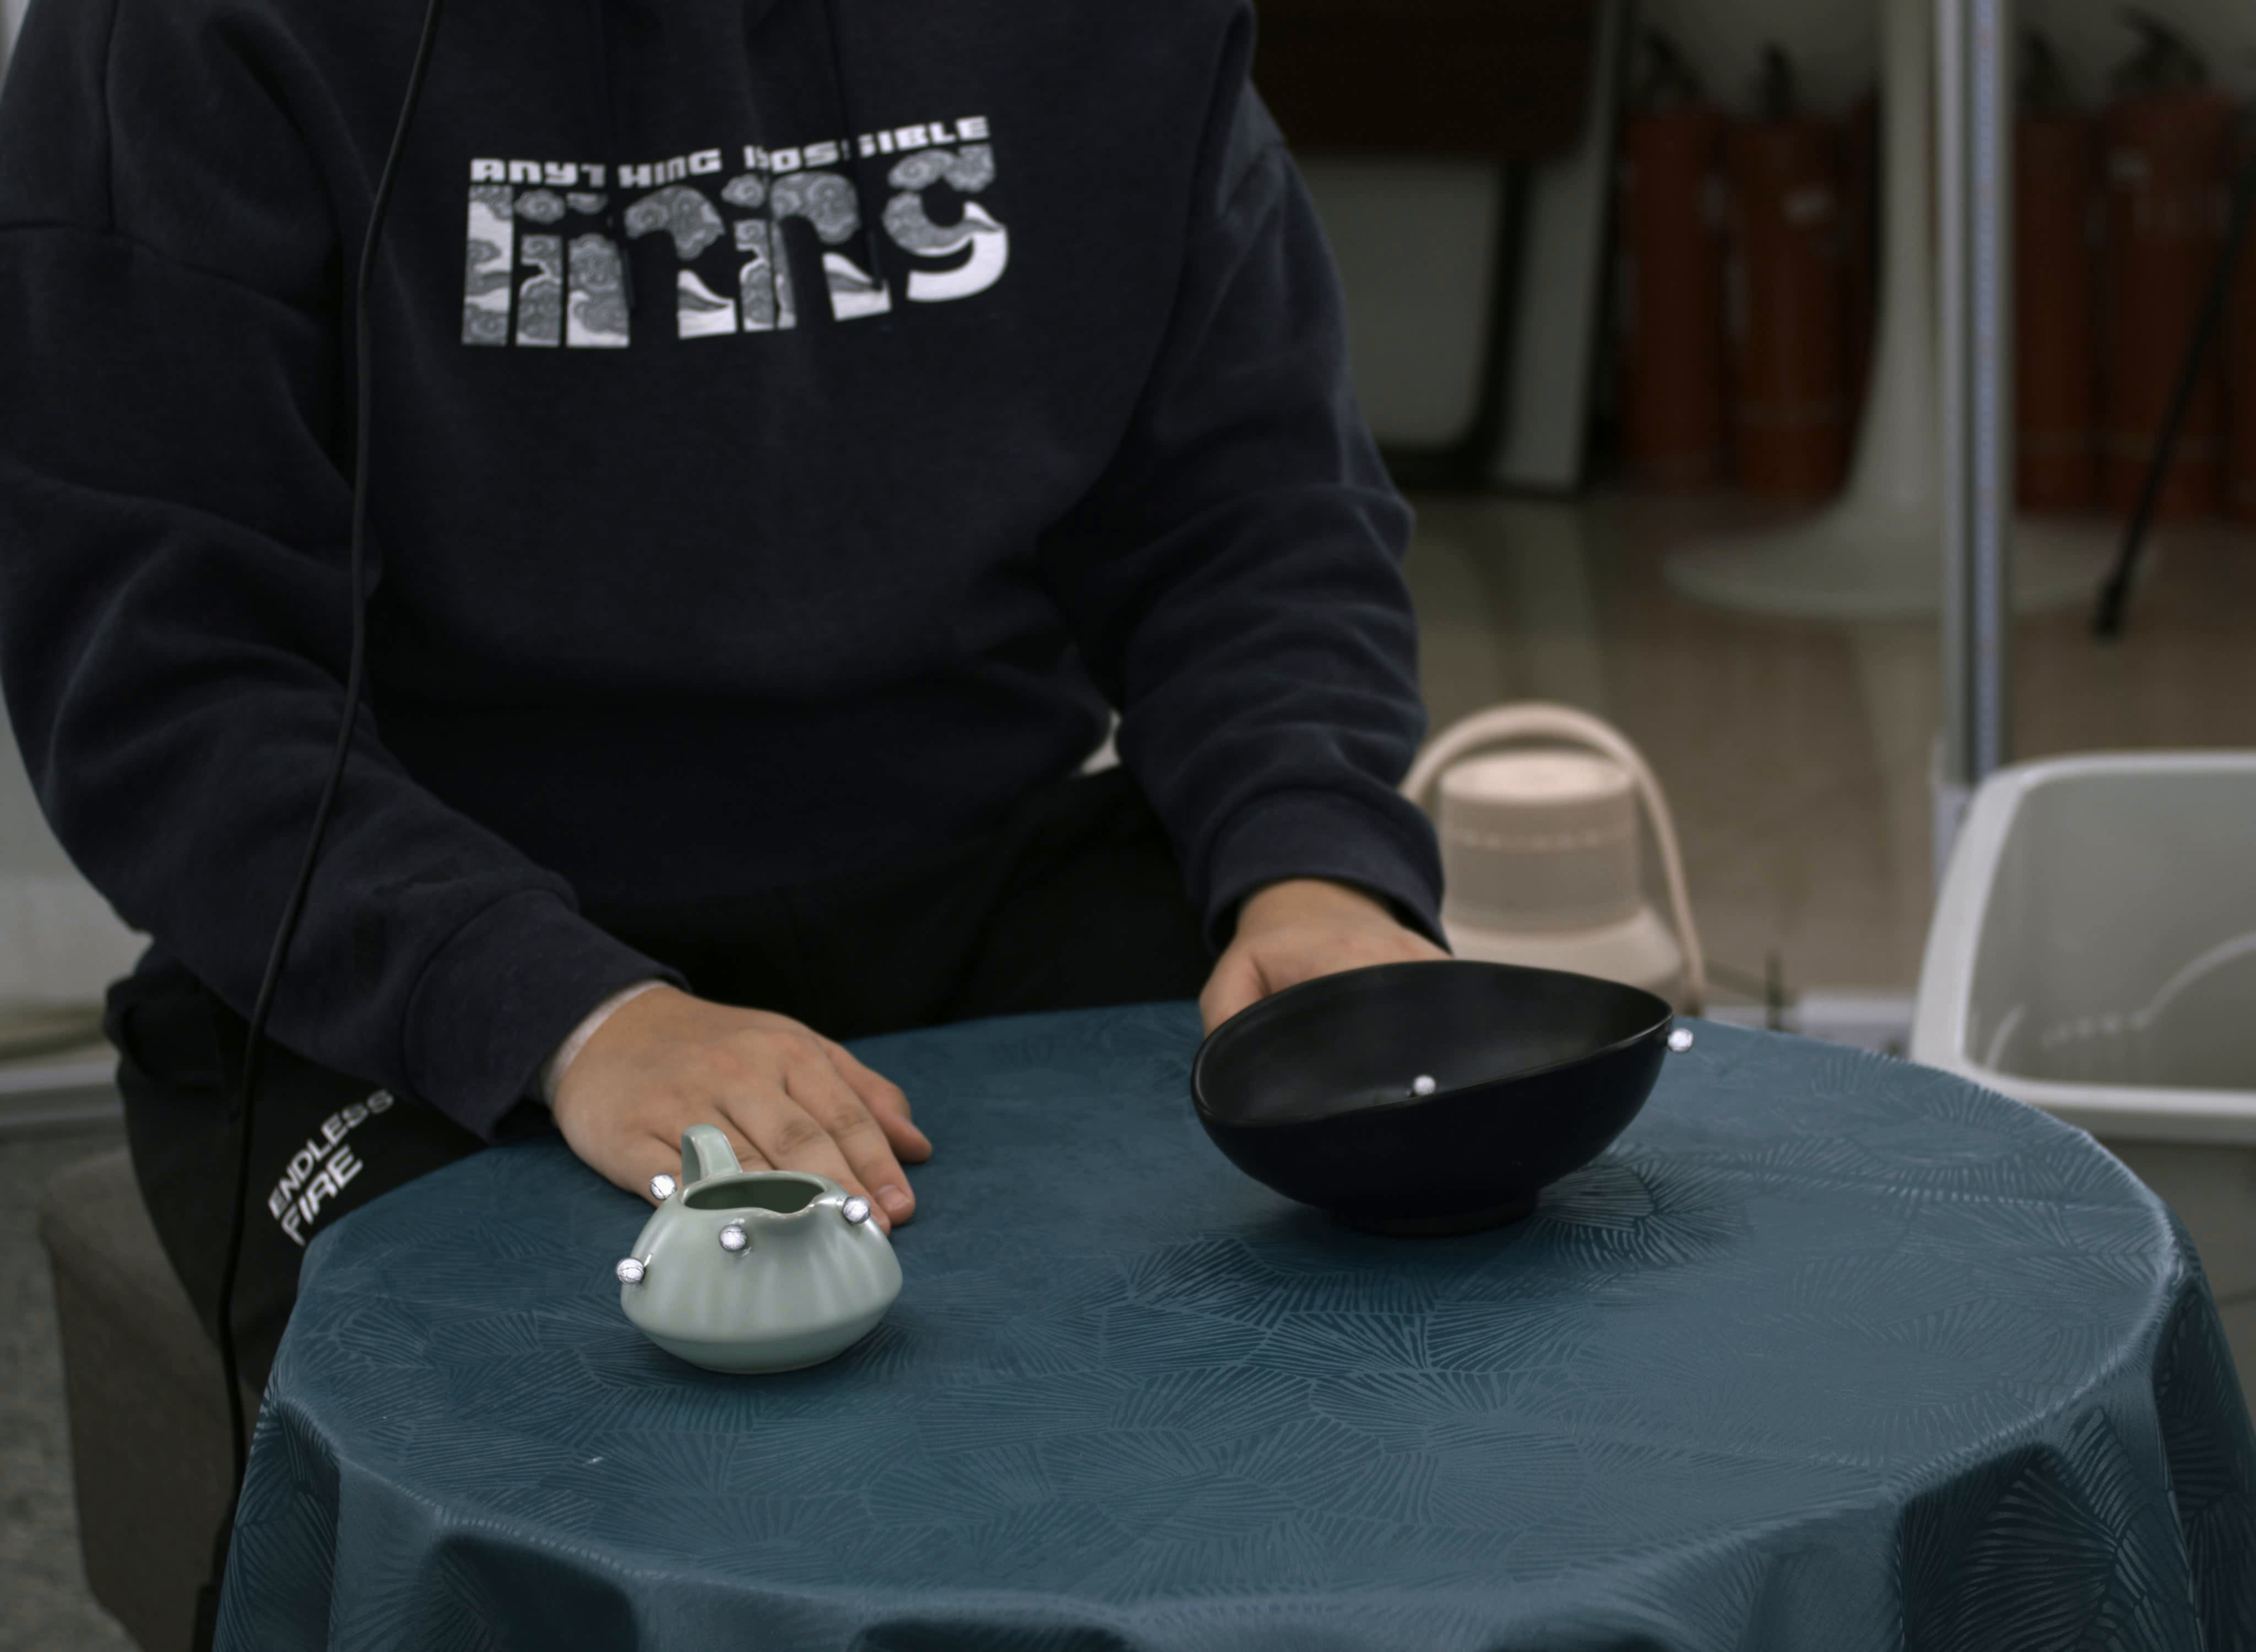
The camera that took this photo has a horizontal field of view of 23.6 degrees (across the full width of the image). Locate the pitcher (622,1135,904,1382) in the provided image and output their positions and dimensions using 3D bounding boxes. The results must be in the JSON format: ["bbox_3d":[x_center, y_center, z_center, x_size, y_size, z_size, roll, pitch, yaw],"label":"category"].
[{"bbox_3d":[-0.115,0.132,1.646,0.084,0.061,0.109,-8,12,-21],"label":"pitcher"}]

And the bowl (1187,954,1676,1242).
[{"bbox_3d":[0.100,0.092,1.732,0.166,0.067,0.139,-14,16,-33],"label":"bowl"}]
